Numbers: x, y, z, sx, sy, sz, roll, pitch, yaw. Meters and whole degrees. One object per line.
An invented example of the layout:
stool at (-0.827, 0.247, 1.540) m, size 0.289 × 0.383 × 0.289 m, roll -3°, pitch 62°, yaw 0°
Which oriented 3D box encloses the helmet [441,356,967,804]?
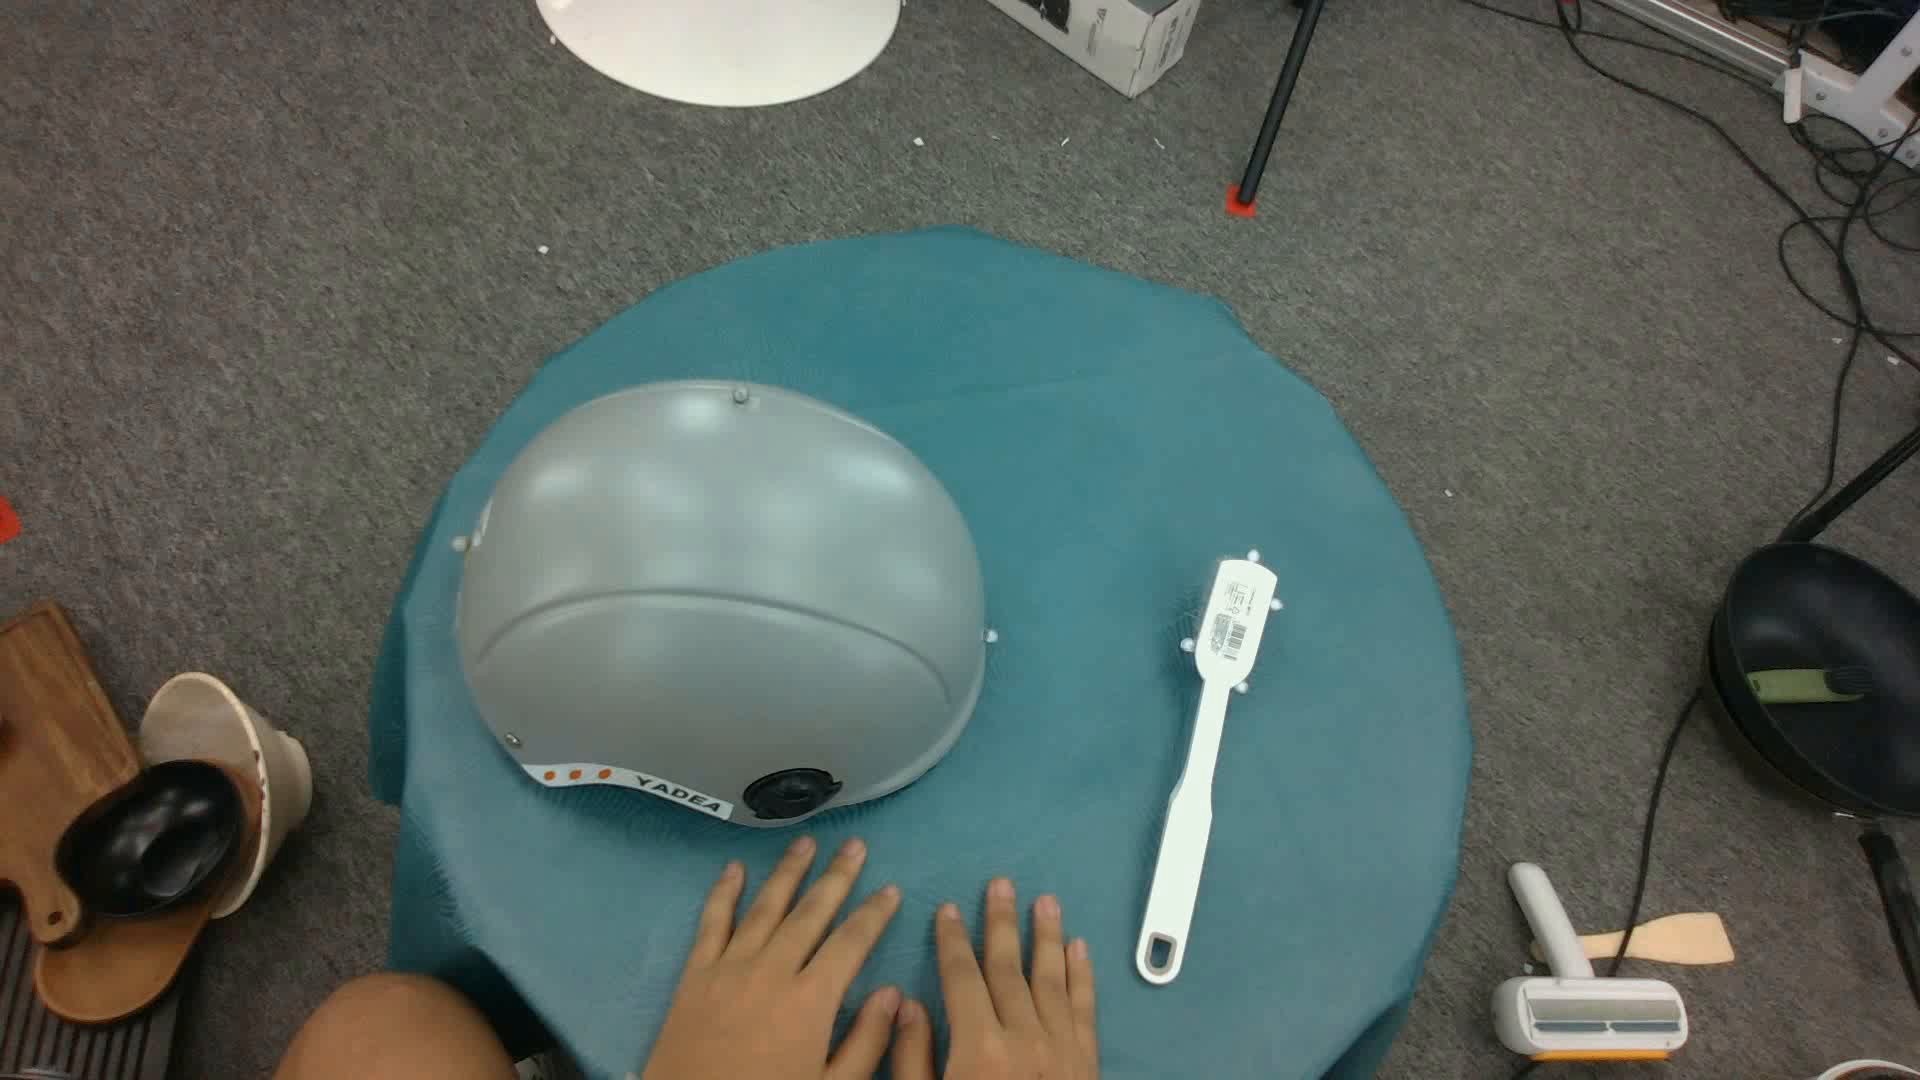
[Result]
helmet at (-0.117, 0.001, 0.687) m, size 0.276 × 0.168 × 0.233 m, roll 5°, pitch 59°, yaw -10°

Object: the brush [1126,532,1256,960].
brush at (0.122, 0.106, 0.751) m, size 0.034 × 0.050 × 0.244 m, roll 14°, pitch 70°, yaw 2°
